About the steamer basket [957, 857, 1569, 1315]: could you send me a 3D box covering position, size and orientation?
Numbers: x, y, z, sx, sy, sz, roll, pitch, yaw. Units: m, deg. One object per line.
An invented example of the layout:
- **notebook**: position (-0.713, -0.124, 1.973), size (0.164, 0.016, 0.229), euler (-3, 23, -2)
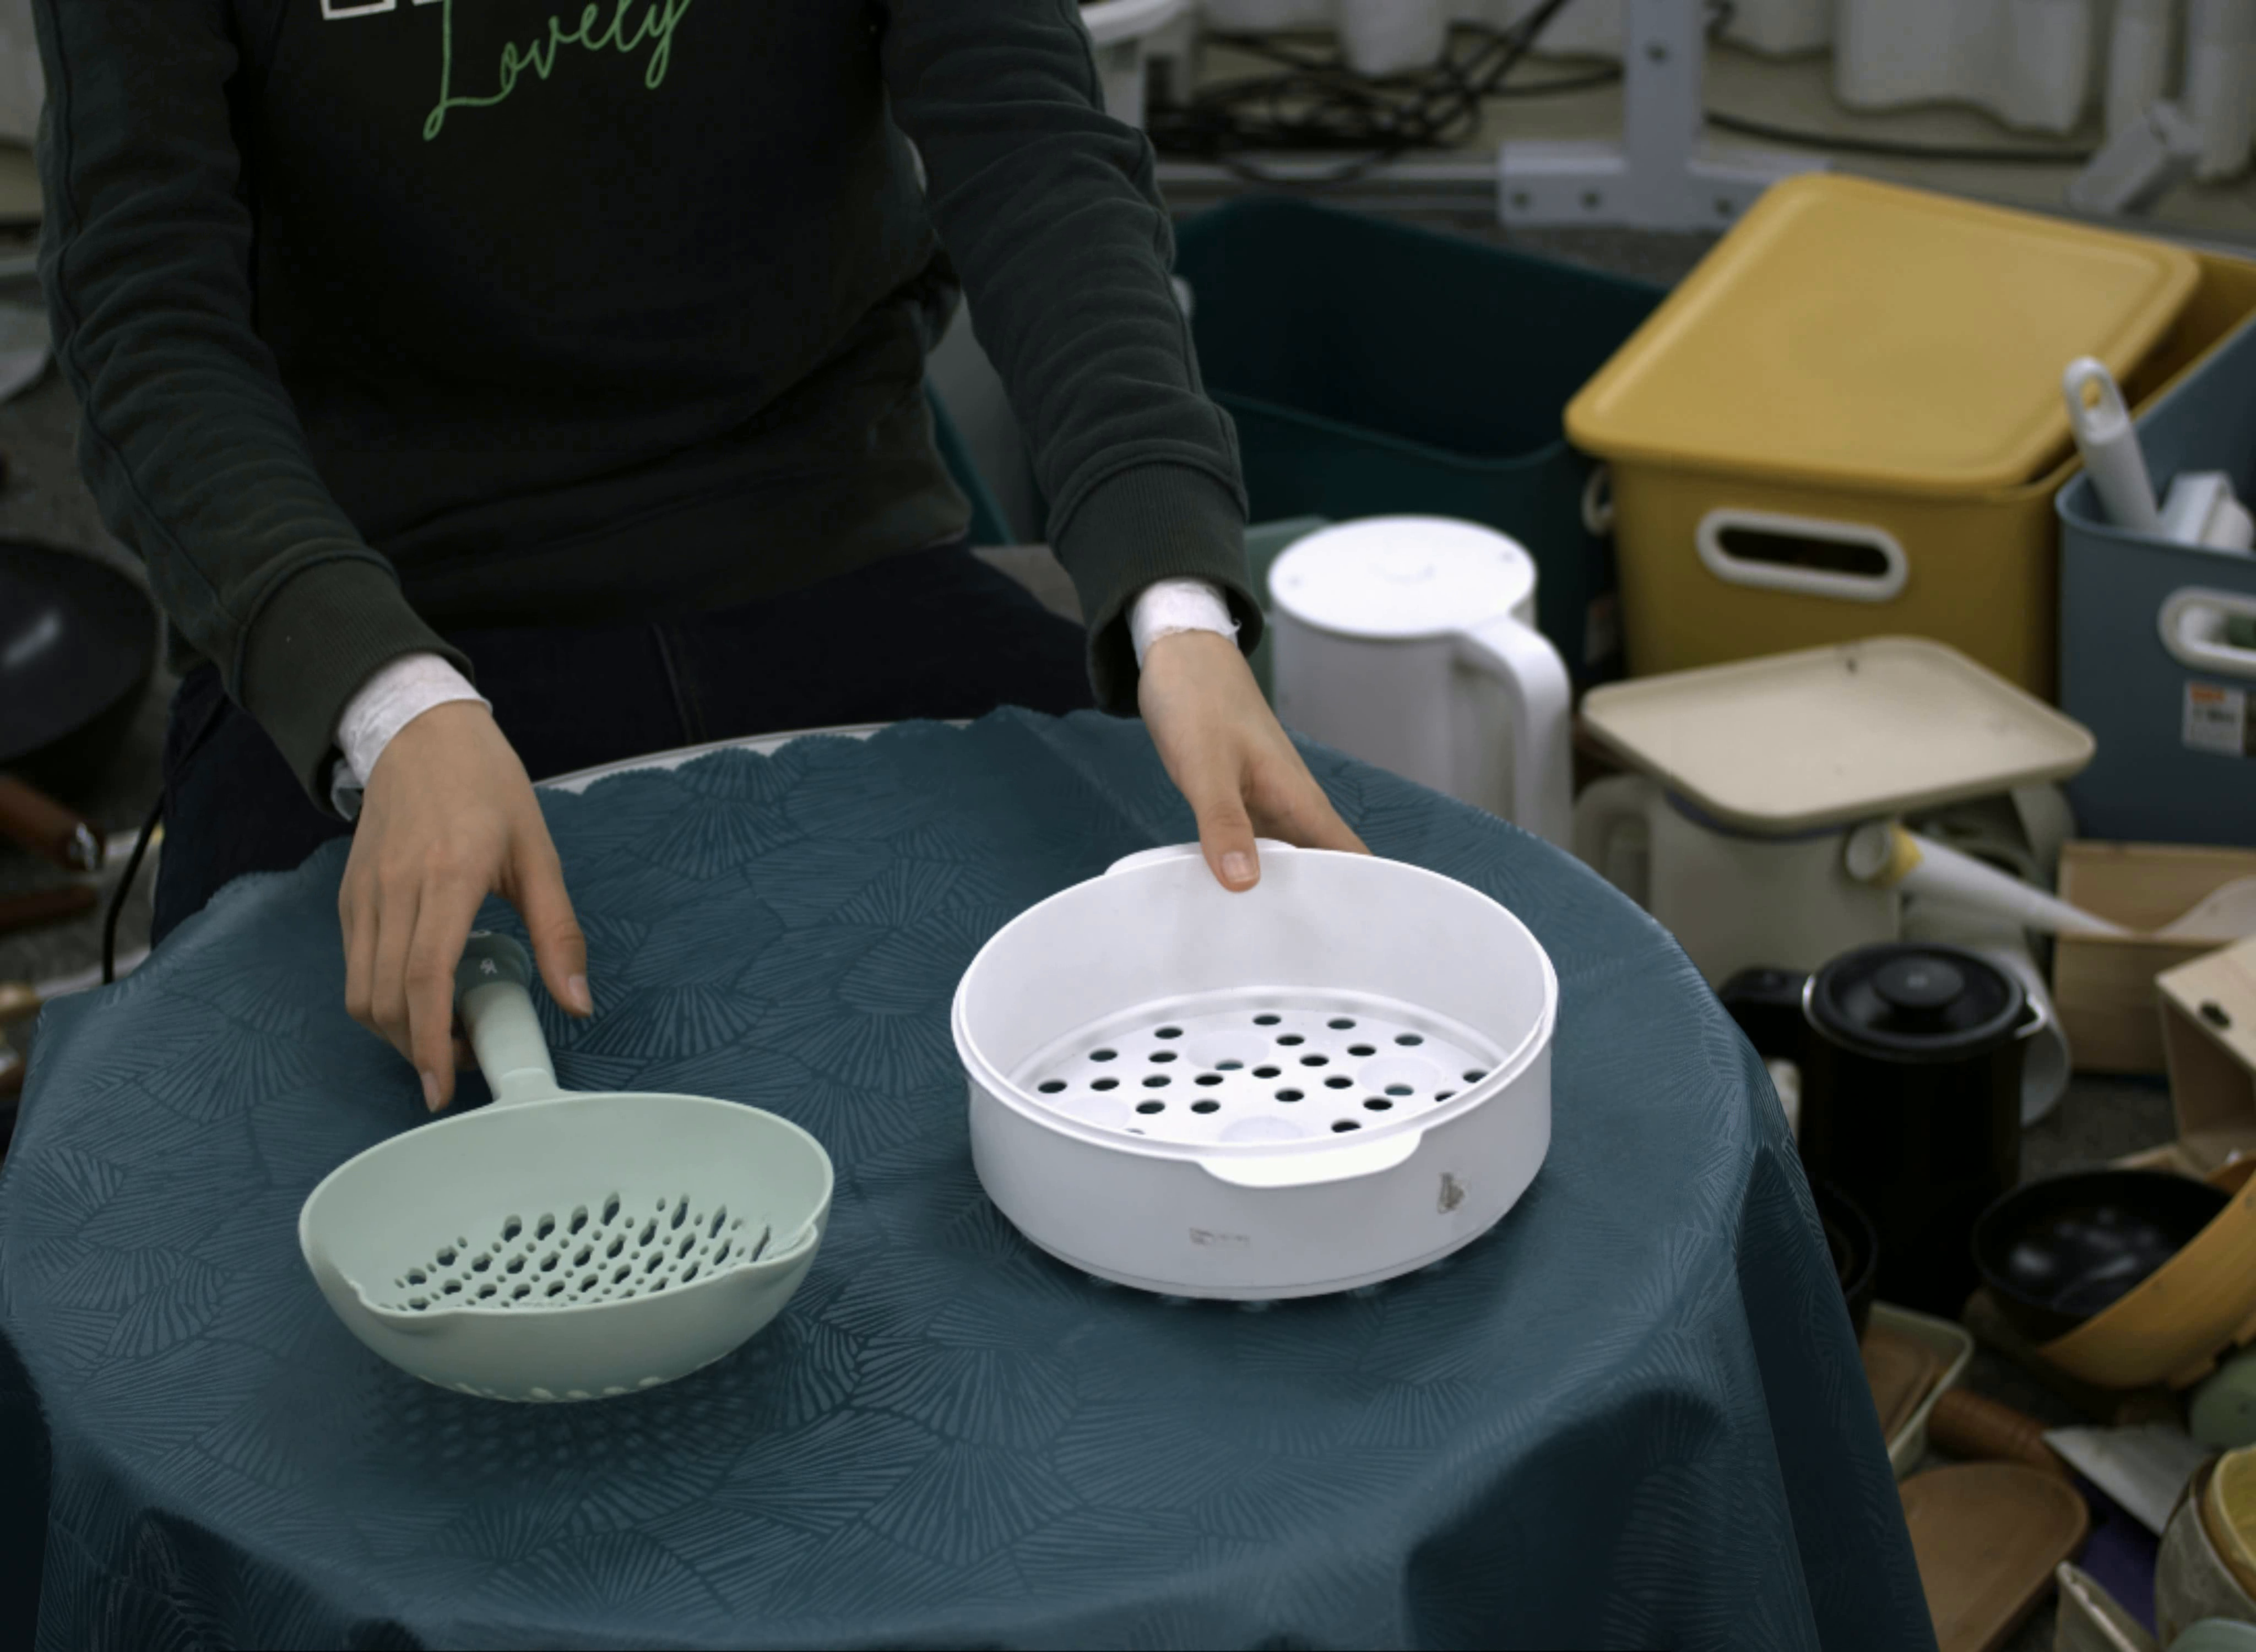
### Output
- **steamer basket**: position (0.045, 0.087, 1.855), size (0.201, 0.068, 0.233), euler (-6, 27, -9)

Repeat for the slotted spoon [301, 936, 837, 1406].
- **slotted spoon**: position (-0.196, 0.098, 1.857), size (0.169, 0.074, 0.363), euler (-7, 27, -11)
